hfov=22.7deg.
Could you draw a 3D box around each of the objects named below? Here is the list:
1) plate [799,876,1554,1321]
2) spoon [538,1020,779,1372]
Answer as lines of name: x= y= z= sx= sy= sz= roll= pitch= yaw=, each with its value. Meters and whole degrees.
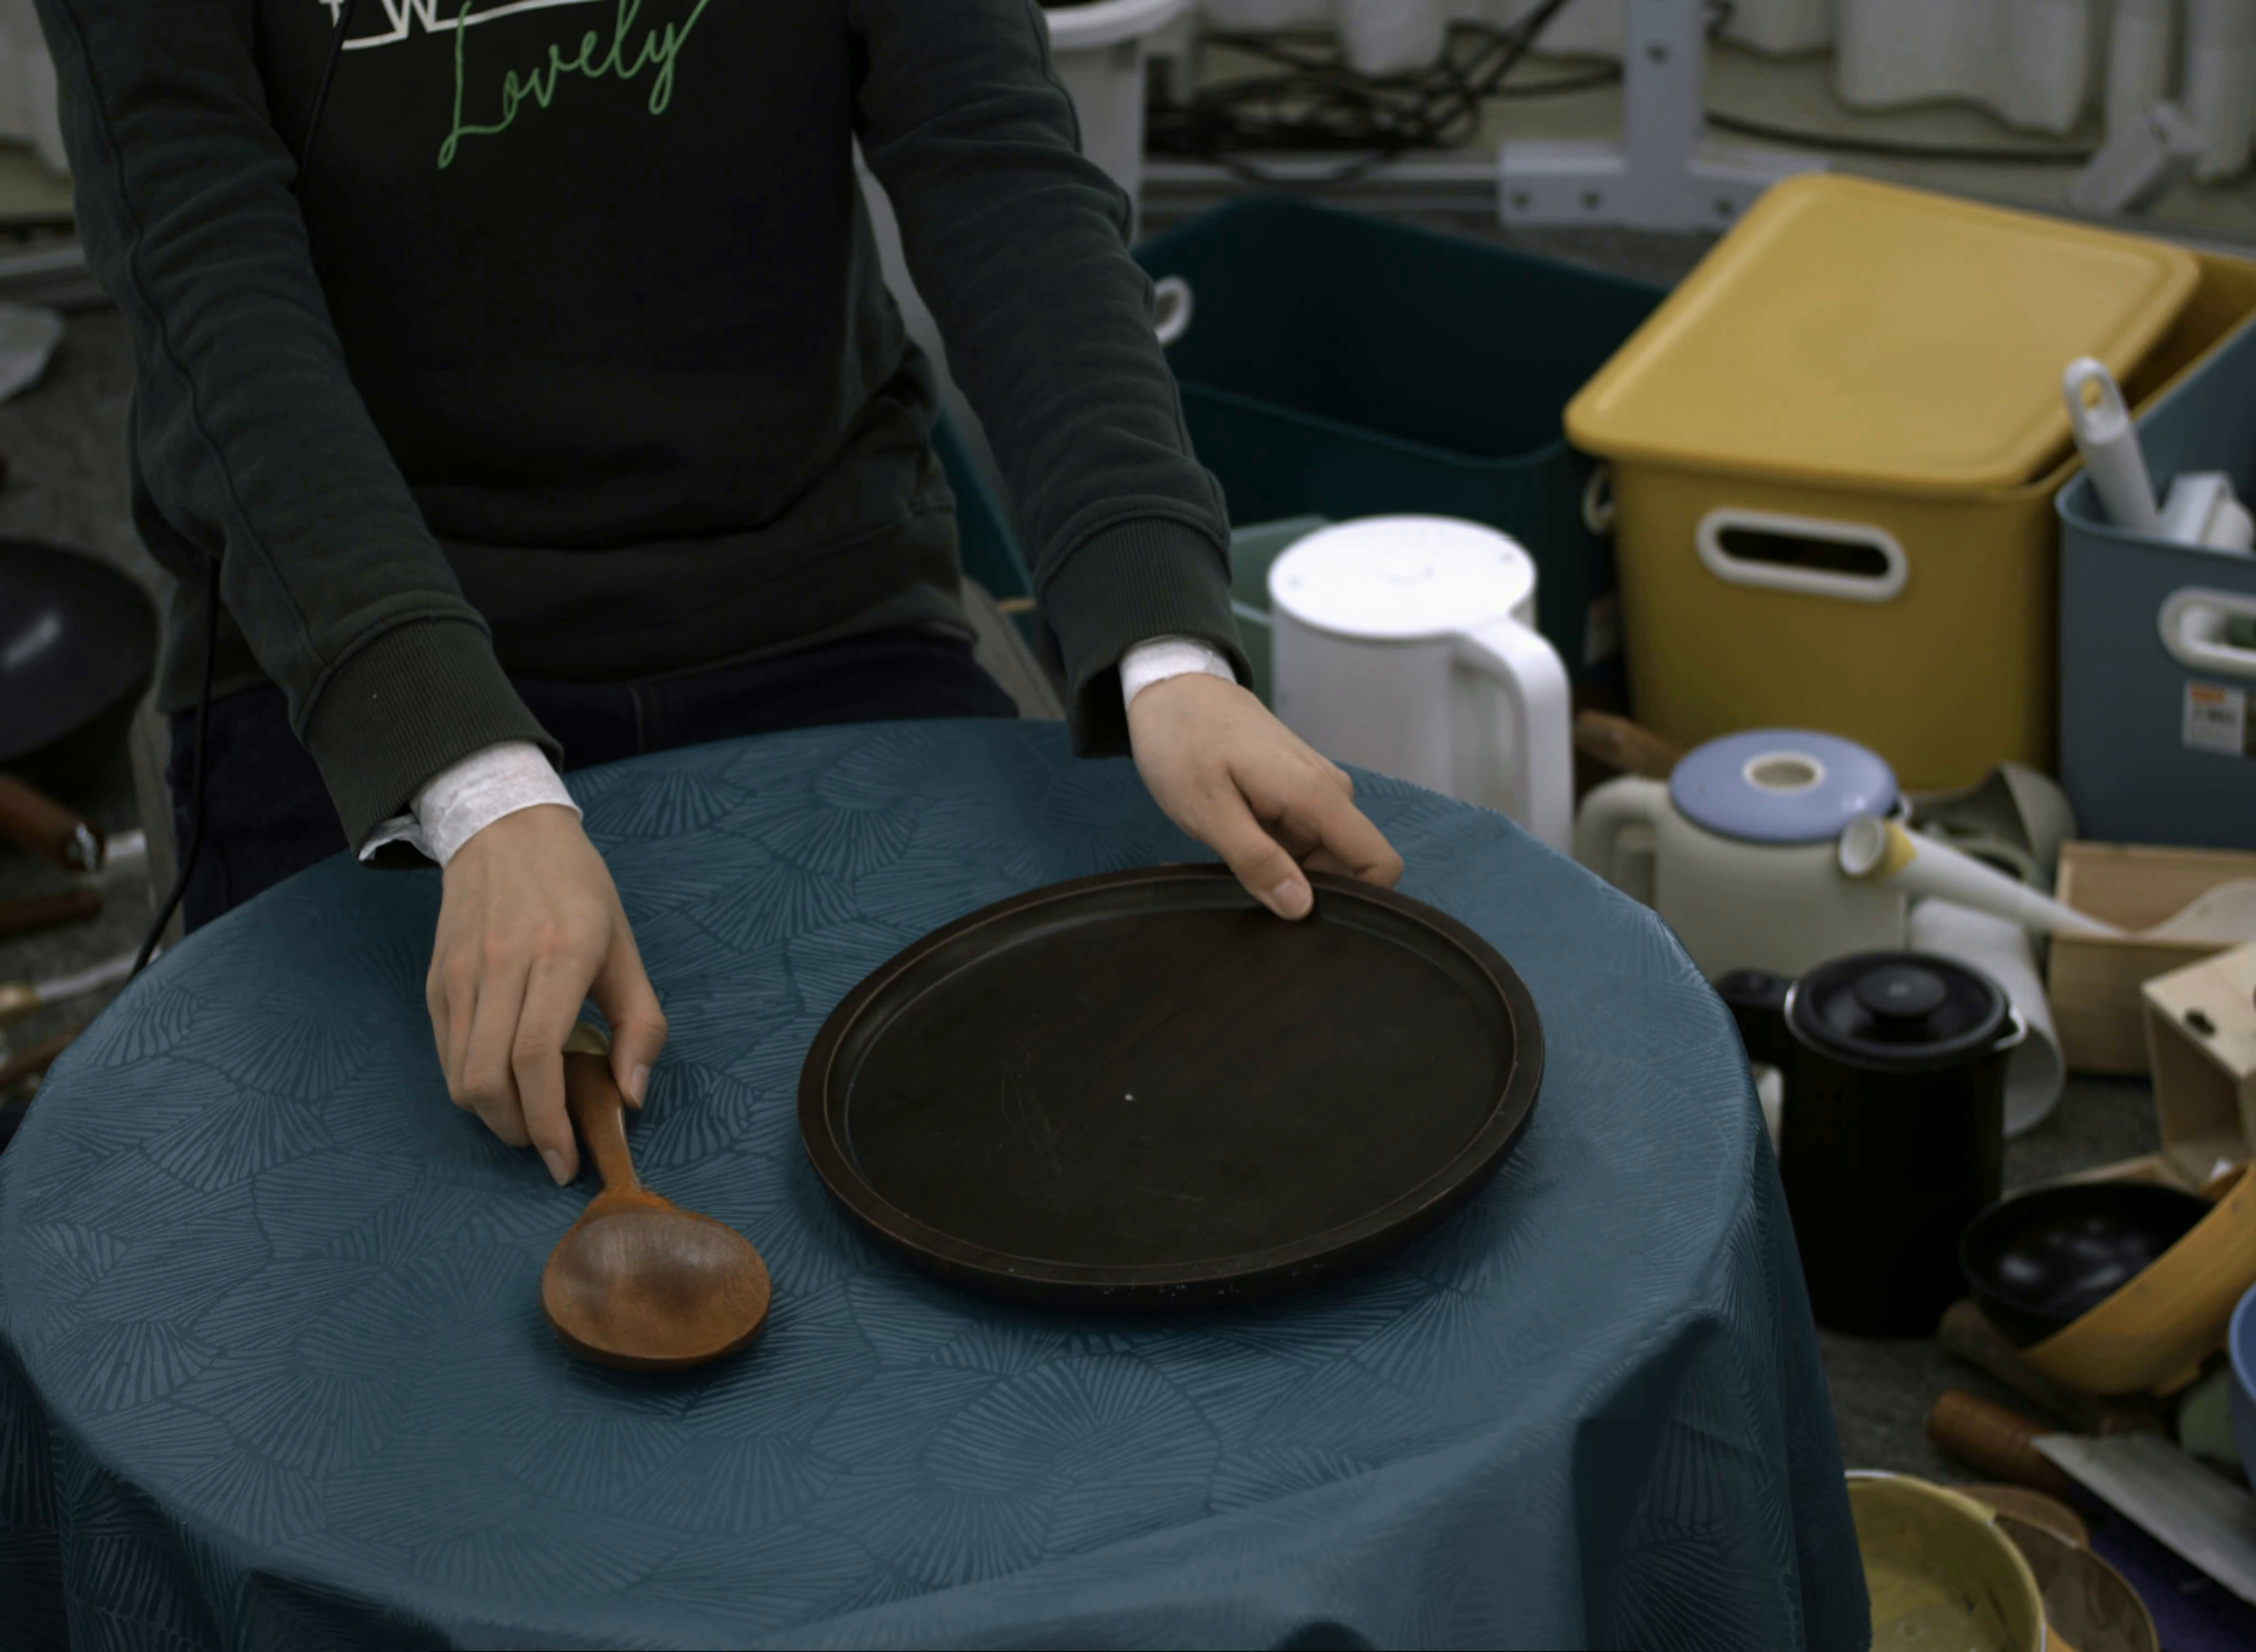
plate: x=0.016 y=0.089 z=1.884 sx=0.253 sy=0.028 sz=0.259 roll=-3 pitch=31 yaw=2
spoon: x=-0.166 y=0.123 z=1.852 sx=0.075 sy=0.017 sz=0.218 roll=-7 pitch=29 yaw=-13
